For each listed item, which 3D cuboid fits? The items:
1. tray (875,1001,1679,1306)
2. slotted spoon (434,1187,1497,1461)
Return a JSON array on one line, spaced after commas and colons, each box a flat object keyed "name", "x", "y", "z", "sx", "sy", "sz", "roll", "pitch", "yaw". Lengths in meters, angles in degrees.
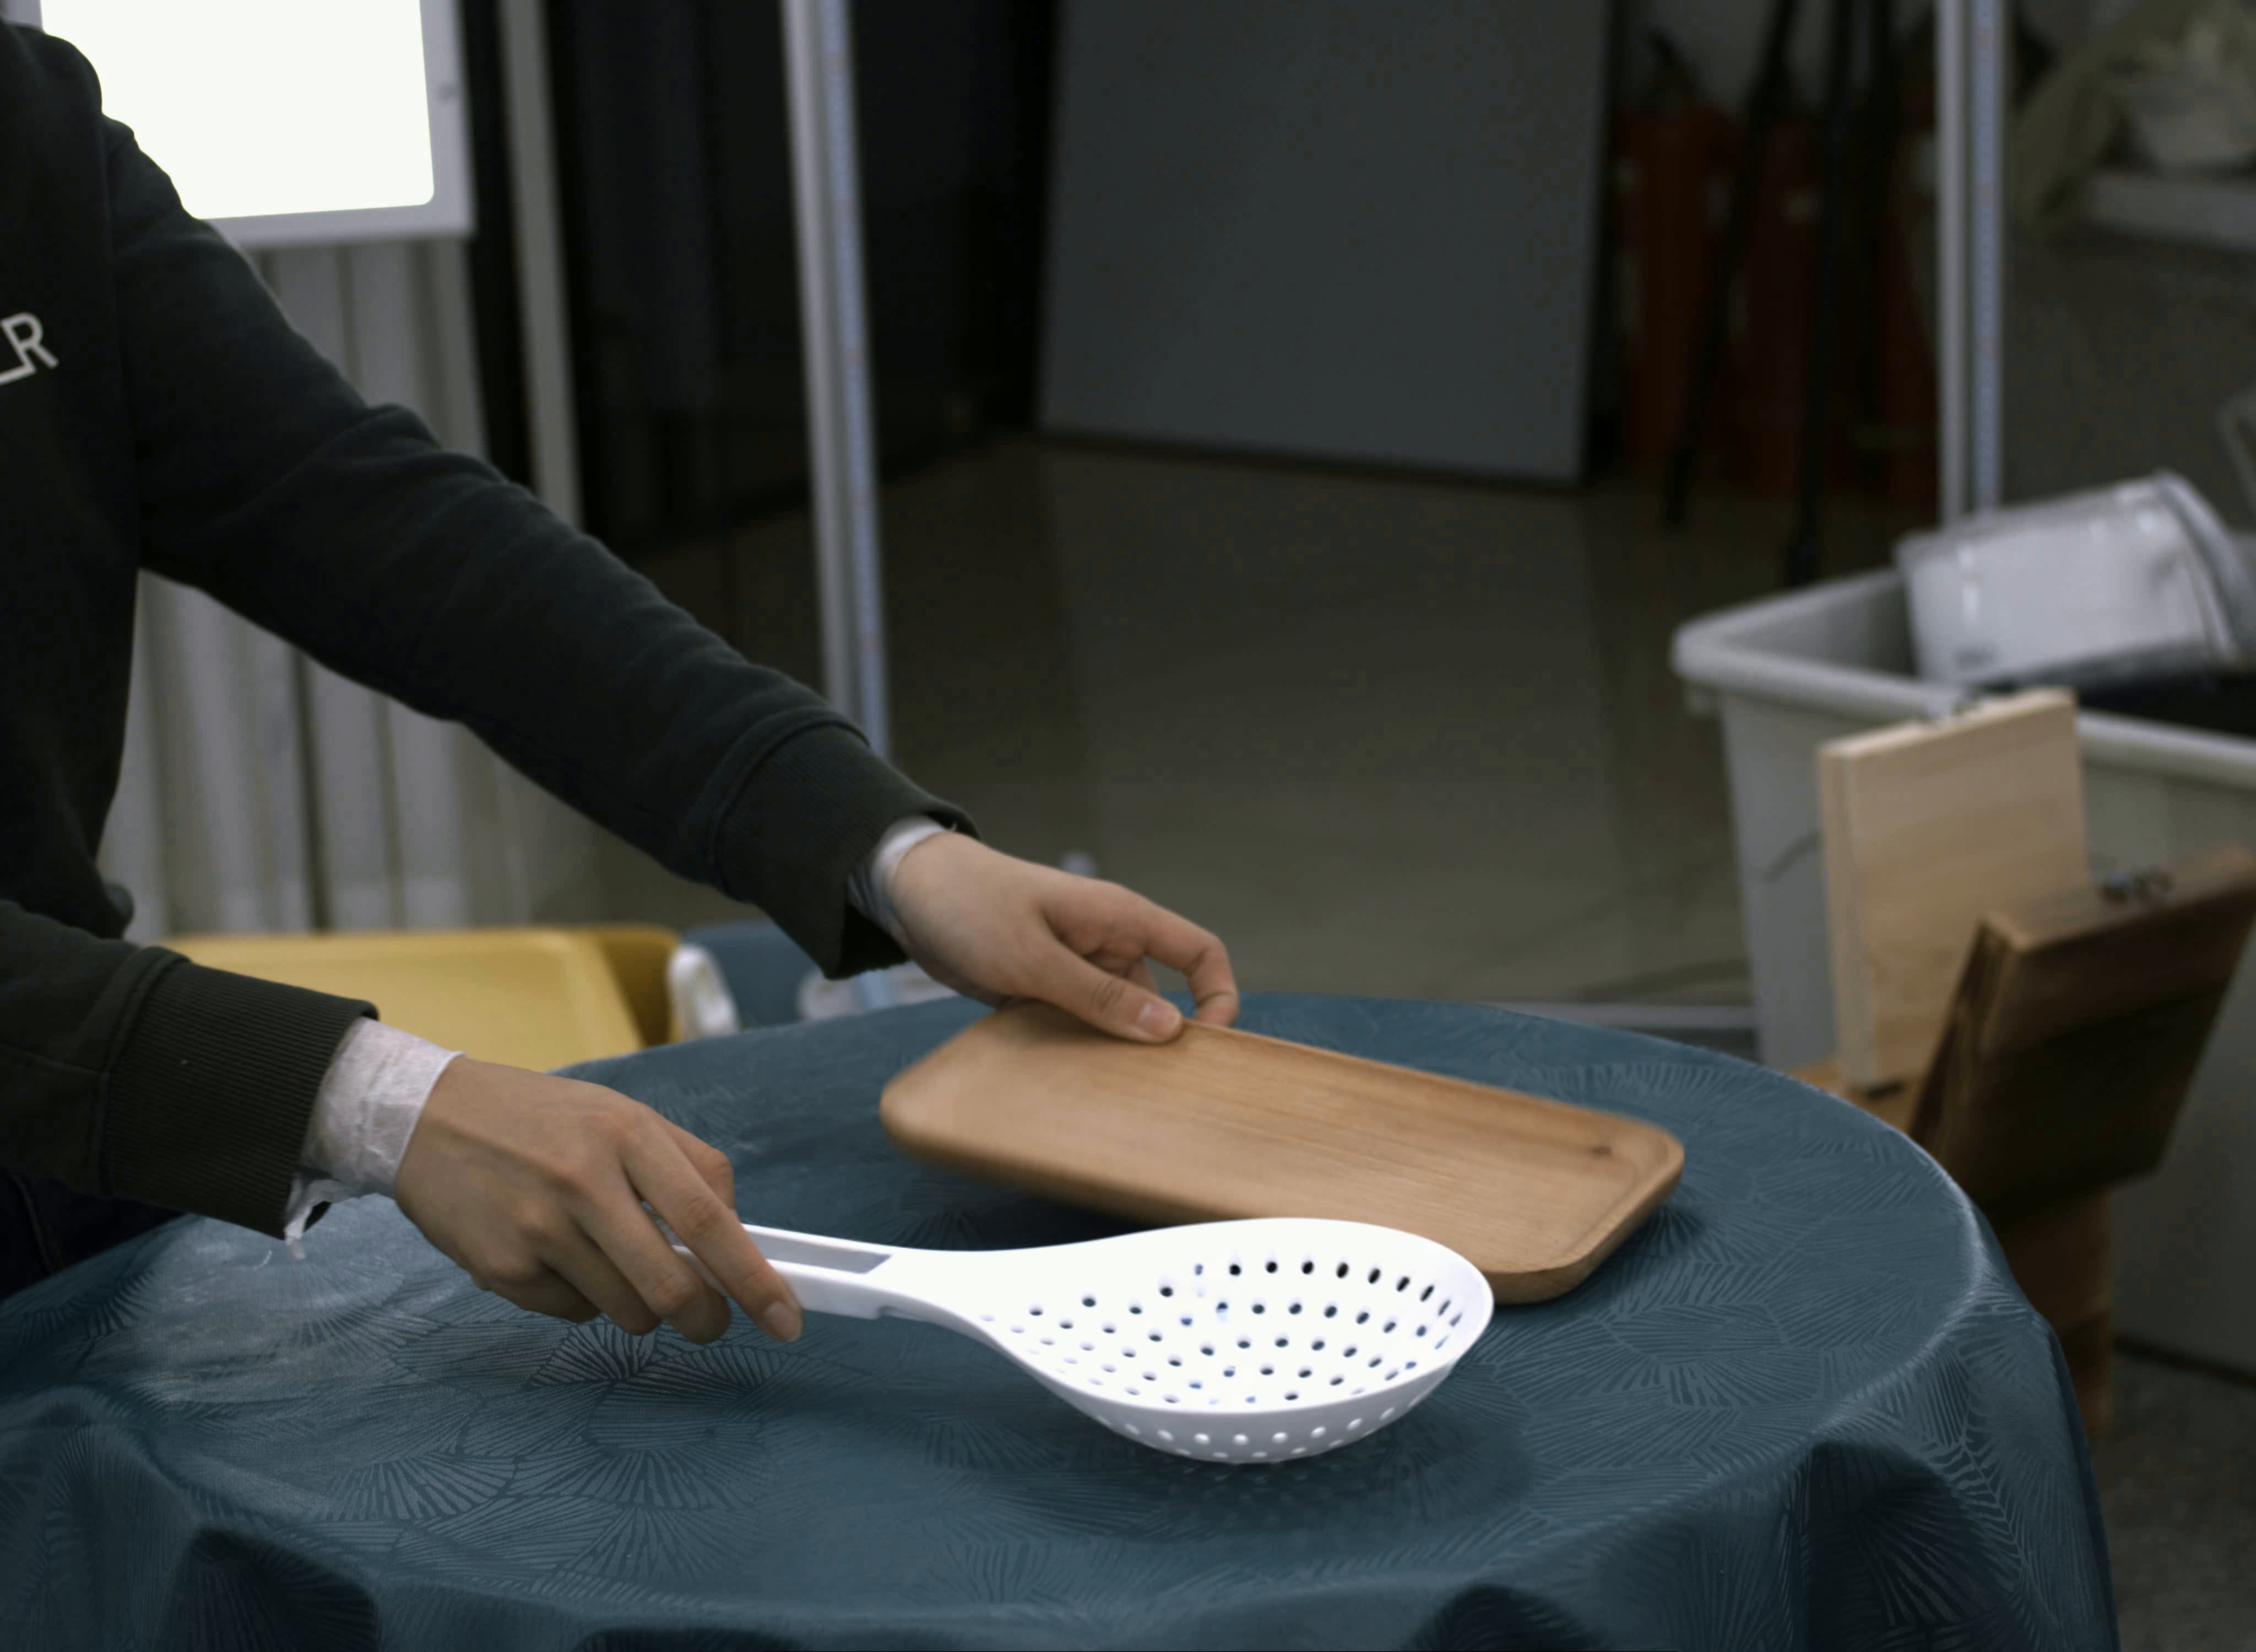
[{"name": "tray", "x": 0.047, "y": 0.104, "z": 1.727, "sx": 0.251, "sy": 0.023, "sz": 0.129, "roll": 8, "pitch": 24, "yaw": 29}, {"name": "slotted spoon", "x": -0.056, "y": 0.136, "z": 1.582, "sx": 0.351, "sy": 0.046, "sz": 0.134, "roll": 10, "pitch": 21, "yaw": 27}]
